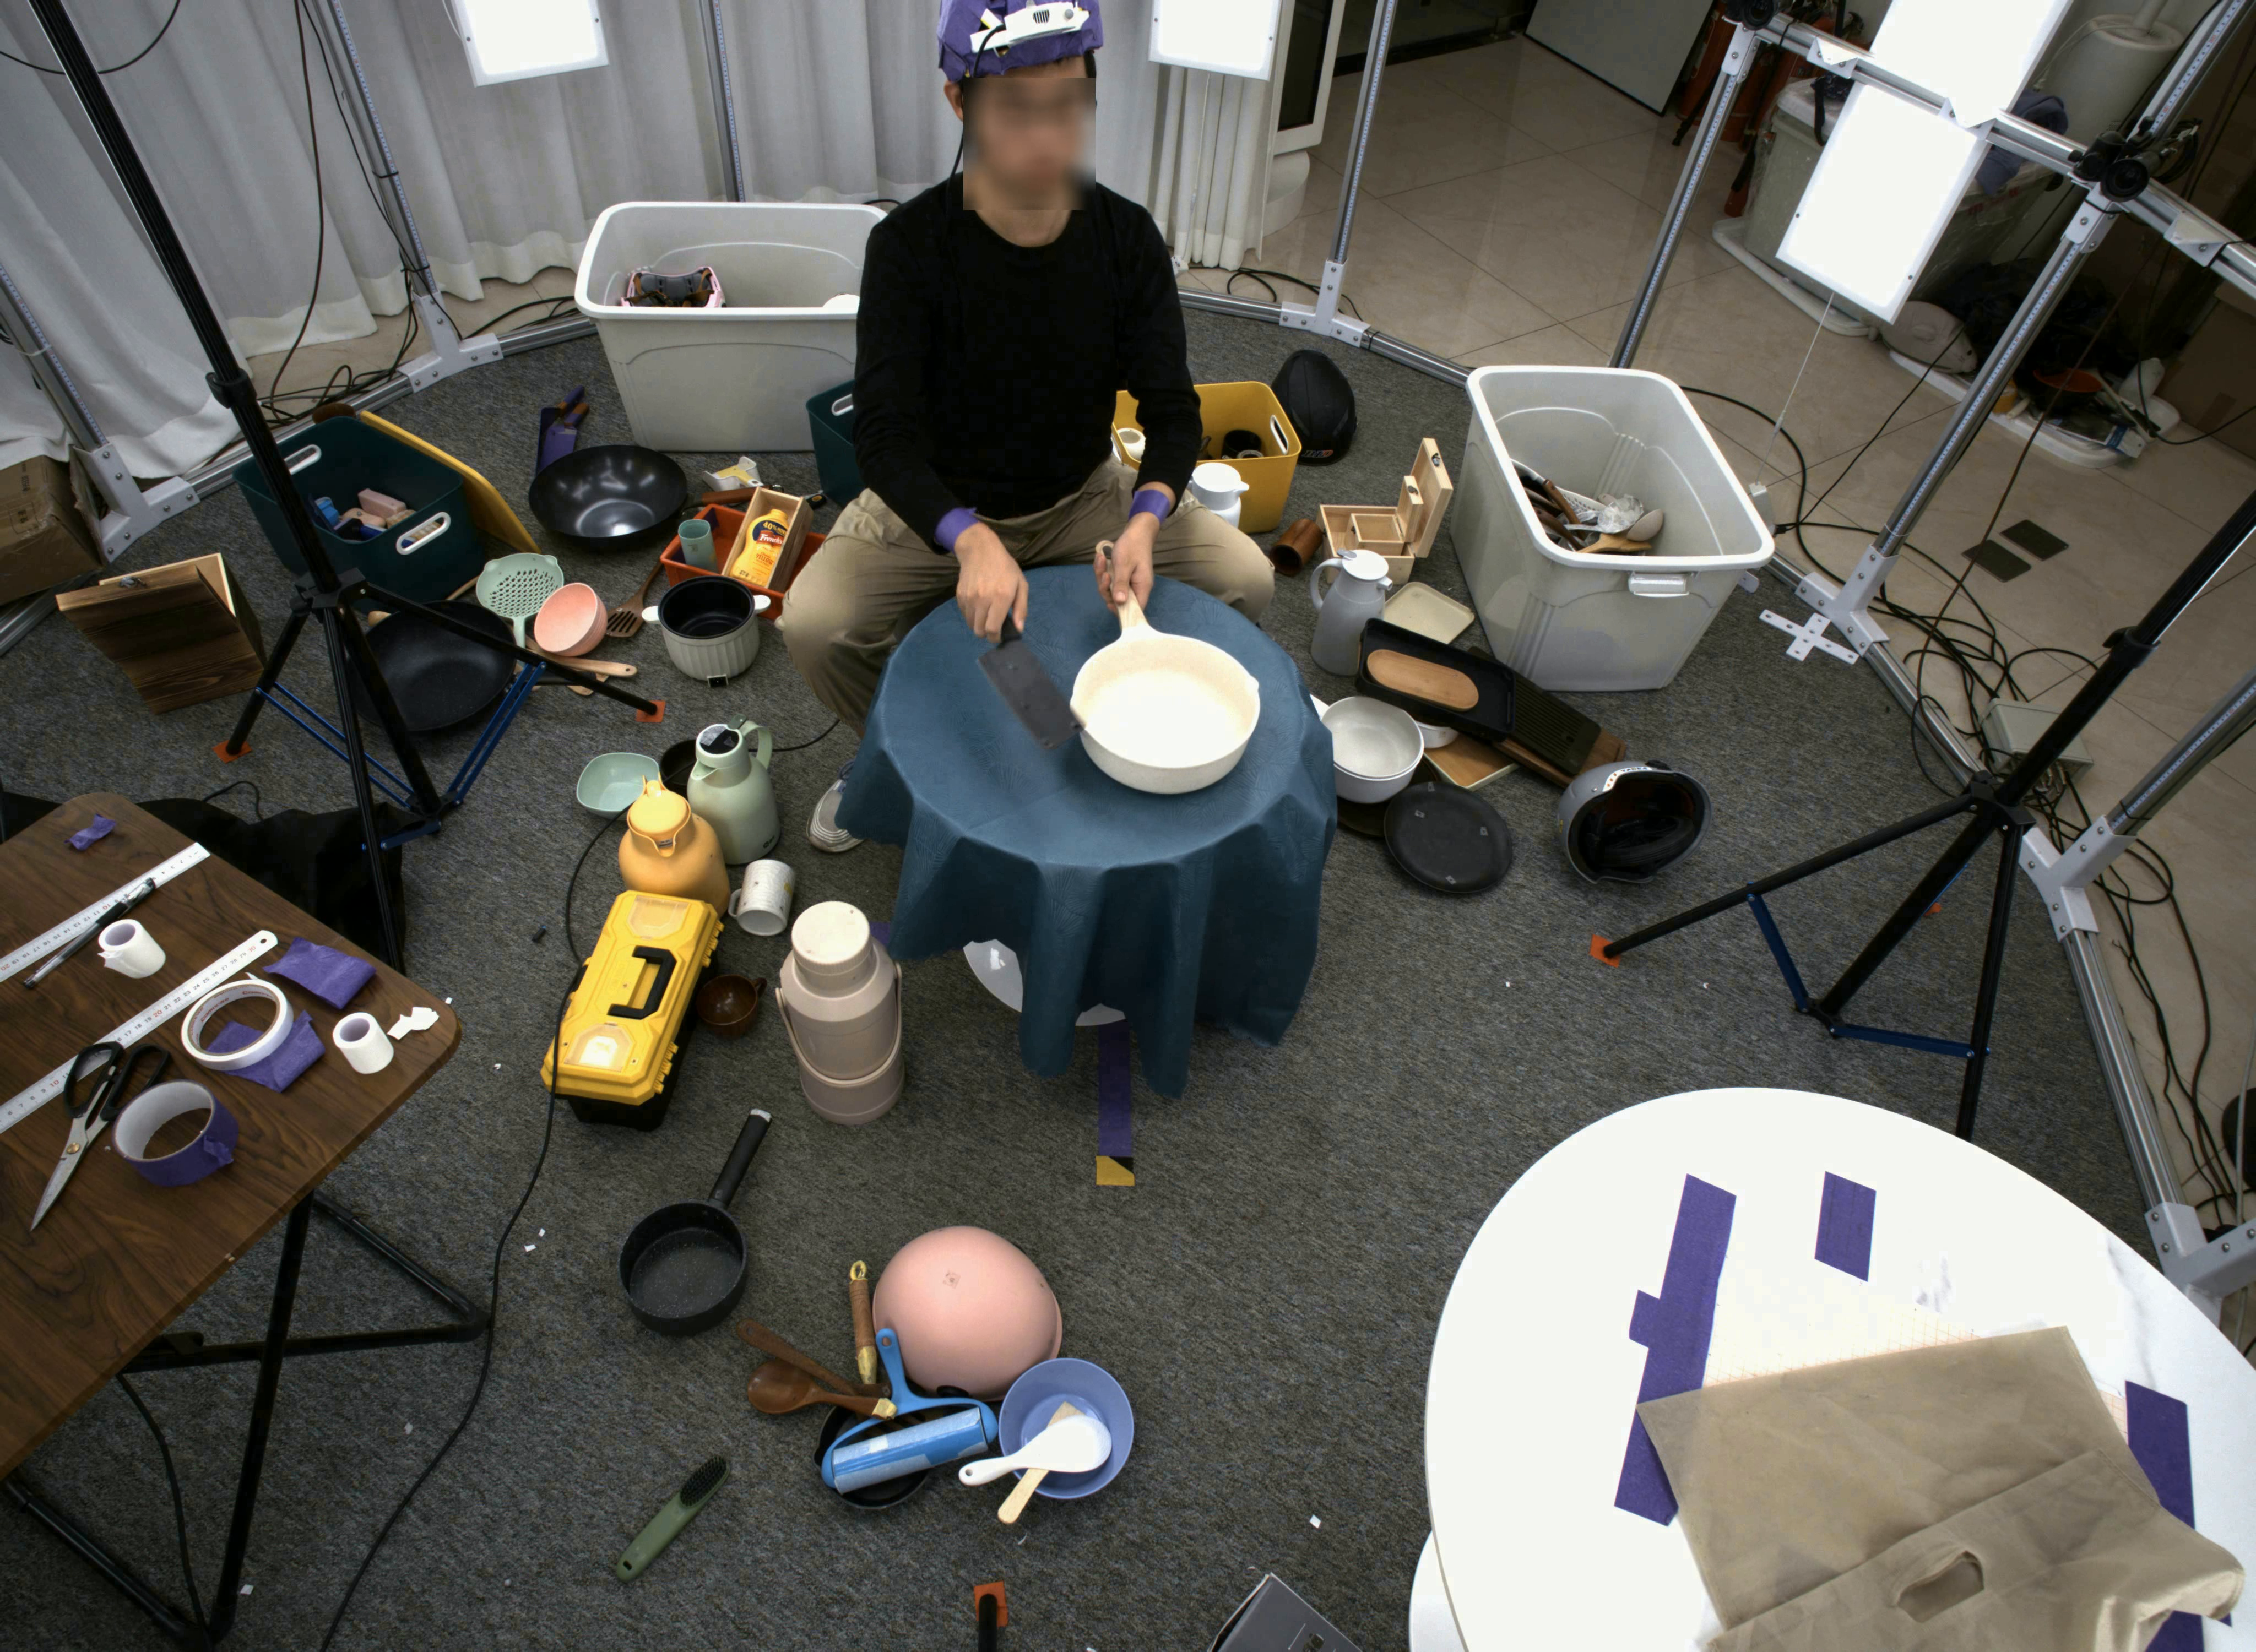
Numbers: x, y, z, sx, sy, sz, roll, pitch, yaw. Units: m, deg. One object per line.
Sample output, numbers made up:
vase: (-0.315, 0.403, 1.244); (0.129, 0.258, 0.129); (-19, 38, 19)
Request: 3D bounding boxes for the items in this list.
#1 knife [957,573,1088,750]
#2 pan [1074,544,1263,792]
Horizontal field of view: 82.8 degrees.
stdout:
knife: (-0.151, -0.223, 1.688); (0.081, 0.020, 0.308); (-31, 63, -1)
pan: (0.027, -0.223, 1.800); (0.263, 0.099, 0.445); (-12, 51, -12)
